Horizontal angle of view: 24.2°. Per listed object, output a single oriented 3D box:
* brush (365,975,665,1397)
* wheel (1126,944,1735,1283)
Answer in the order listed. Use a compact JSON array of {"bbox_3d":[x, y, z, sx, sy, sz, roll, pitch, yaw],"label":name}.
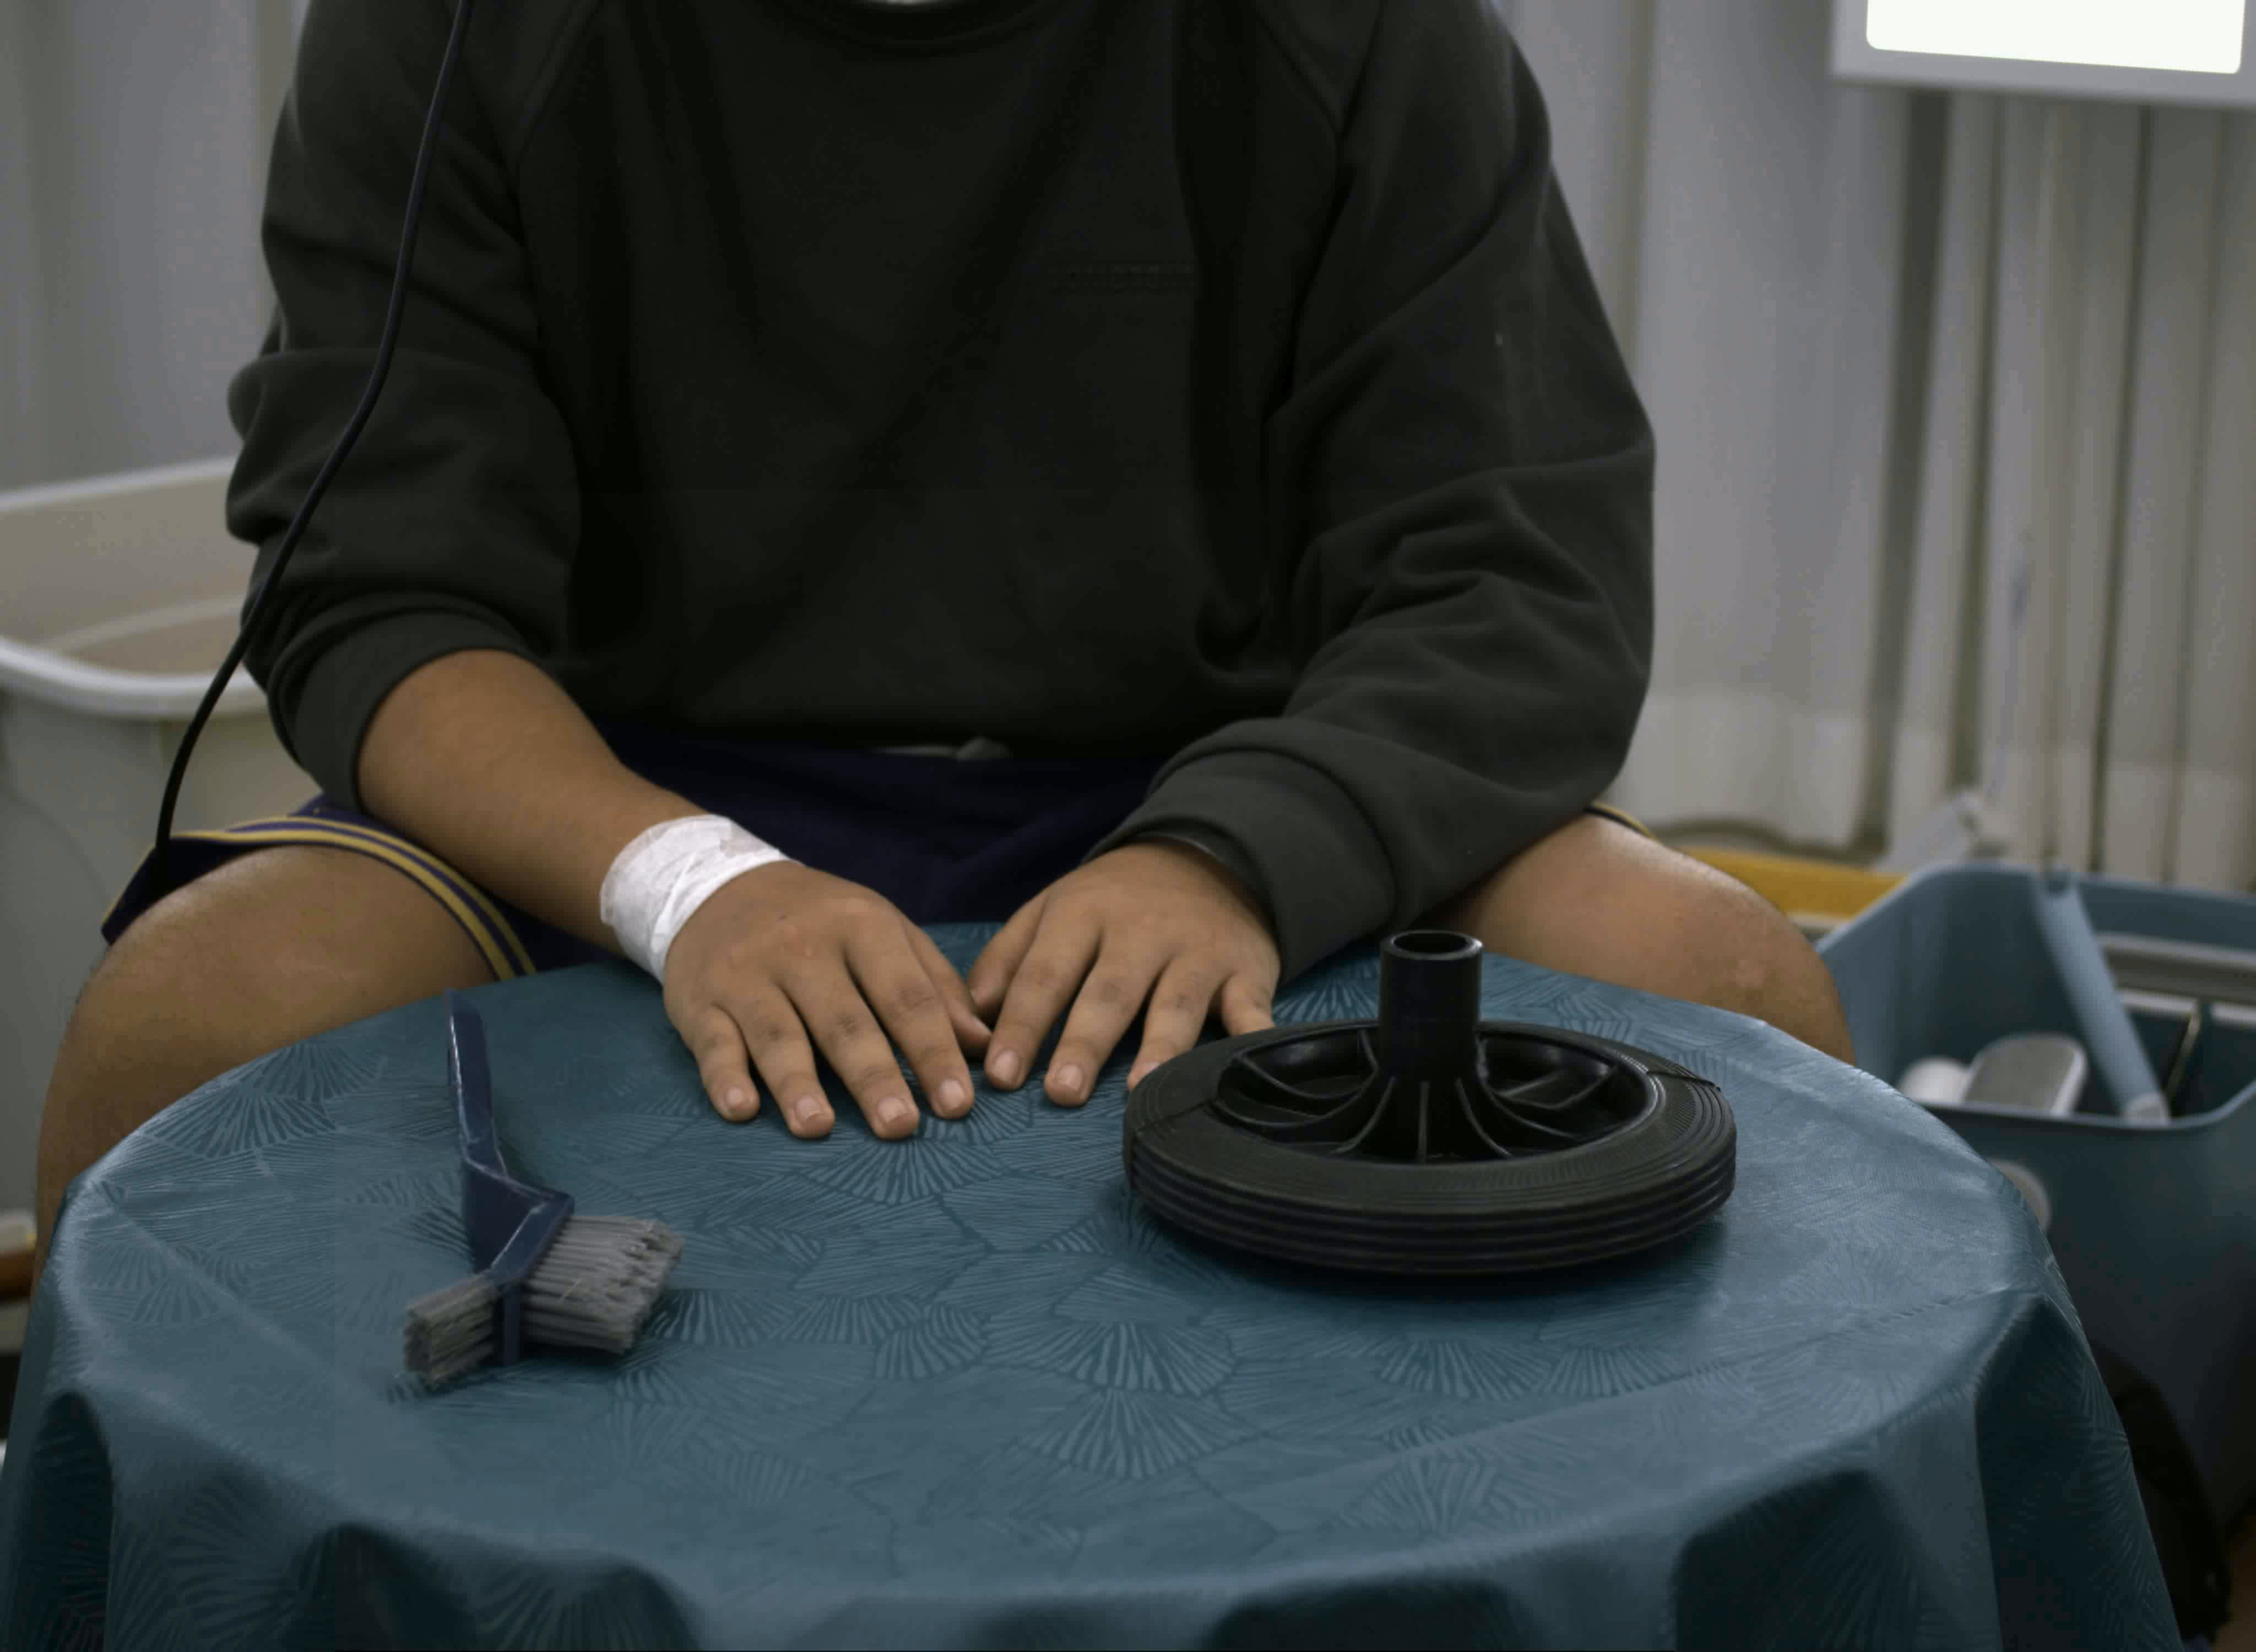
[{"bbox_3d":[-0.201,0.104,1.585,0.096,0.034,0.270,-5,18,-16],"label":"brush"},{"bbox_3d":[0.093,0.078,1.607,0.185,0.080,0.190,6,16,20],"label":"wheel"}]
